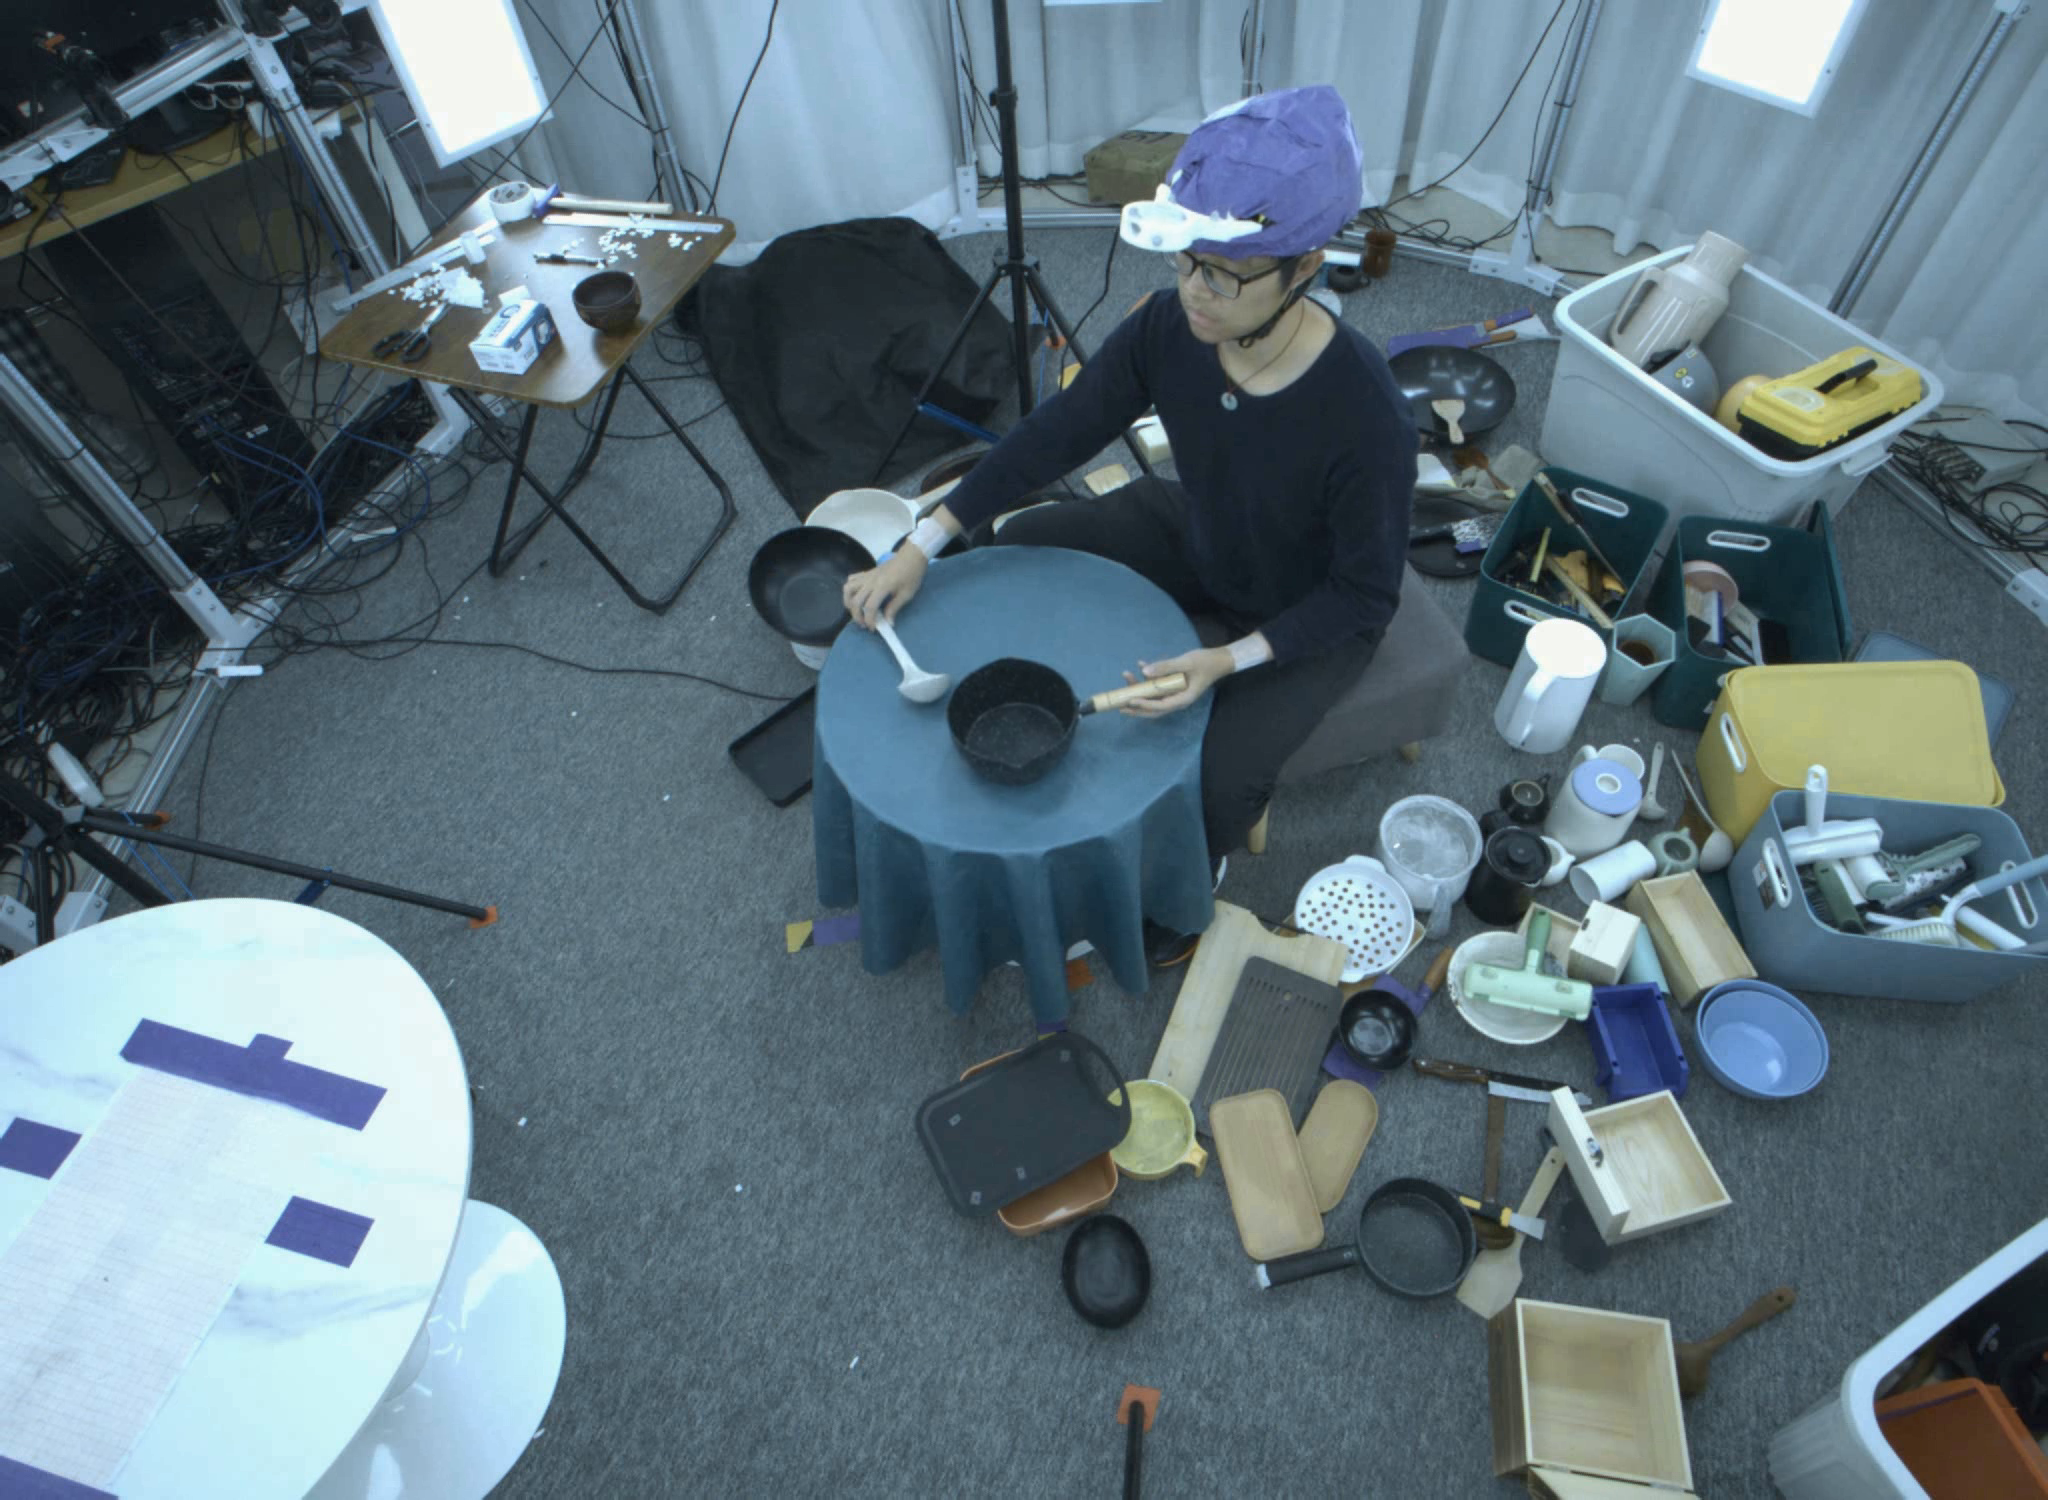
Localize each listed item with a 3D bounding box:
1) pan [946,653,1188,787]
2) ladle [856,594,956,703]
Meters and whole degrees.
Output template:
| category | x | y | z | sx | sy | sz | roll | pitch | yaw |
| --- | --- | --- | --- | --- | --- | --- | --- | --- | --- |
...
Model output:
| category | x | y | z | sx | sy | sz | roll | pitch | yaw |
| --- | --- | --- | --- | --- | --- | --- | --- | --- | --- |
| pan | 0.063 | -0.052 | 1.754 | 0.343 | 0.109 | 0.204 | -9 | 54 | -2 |
| ladle | -0.196 | -0.176 | 1.875 | 0.090 | 0.070 | 0.270 | -20 | 56 | -24 |
